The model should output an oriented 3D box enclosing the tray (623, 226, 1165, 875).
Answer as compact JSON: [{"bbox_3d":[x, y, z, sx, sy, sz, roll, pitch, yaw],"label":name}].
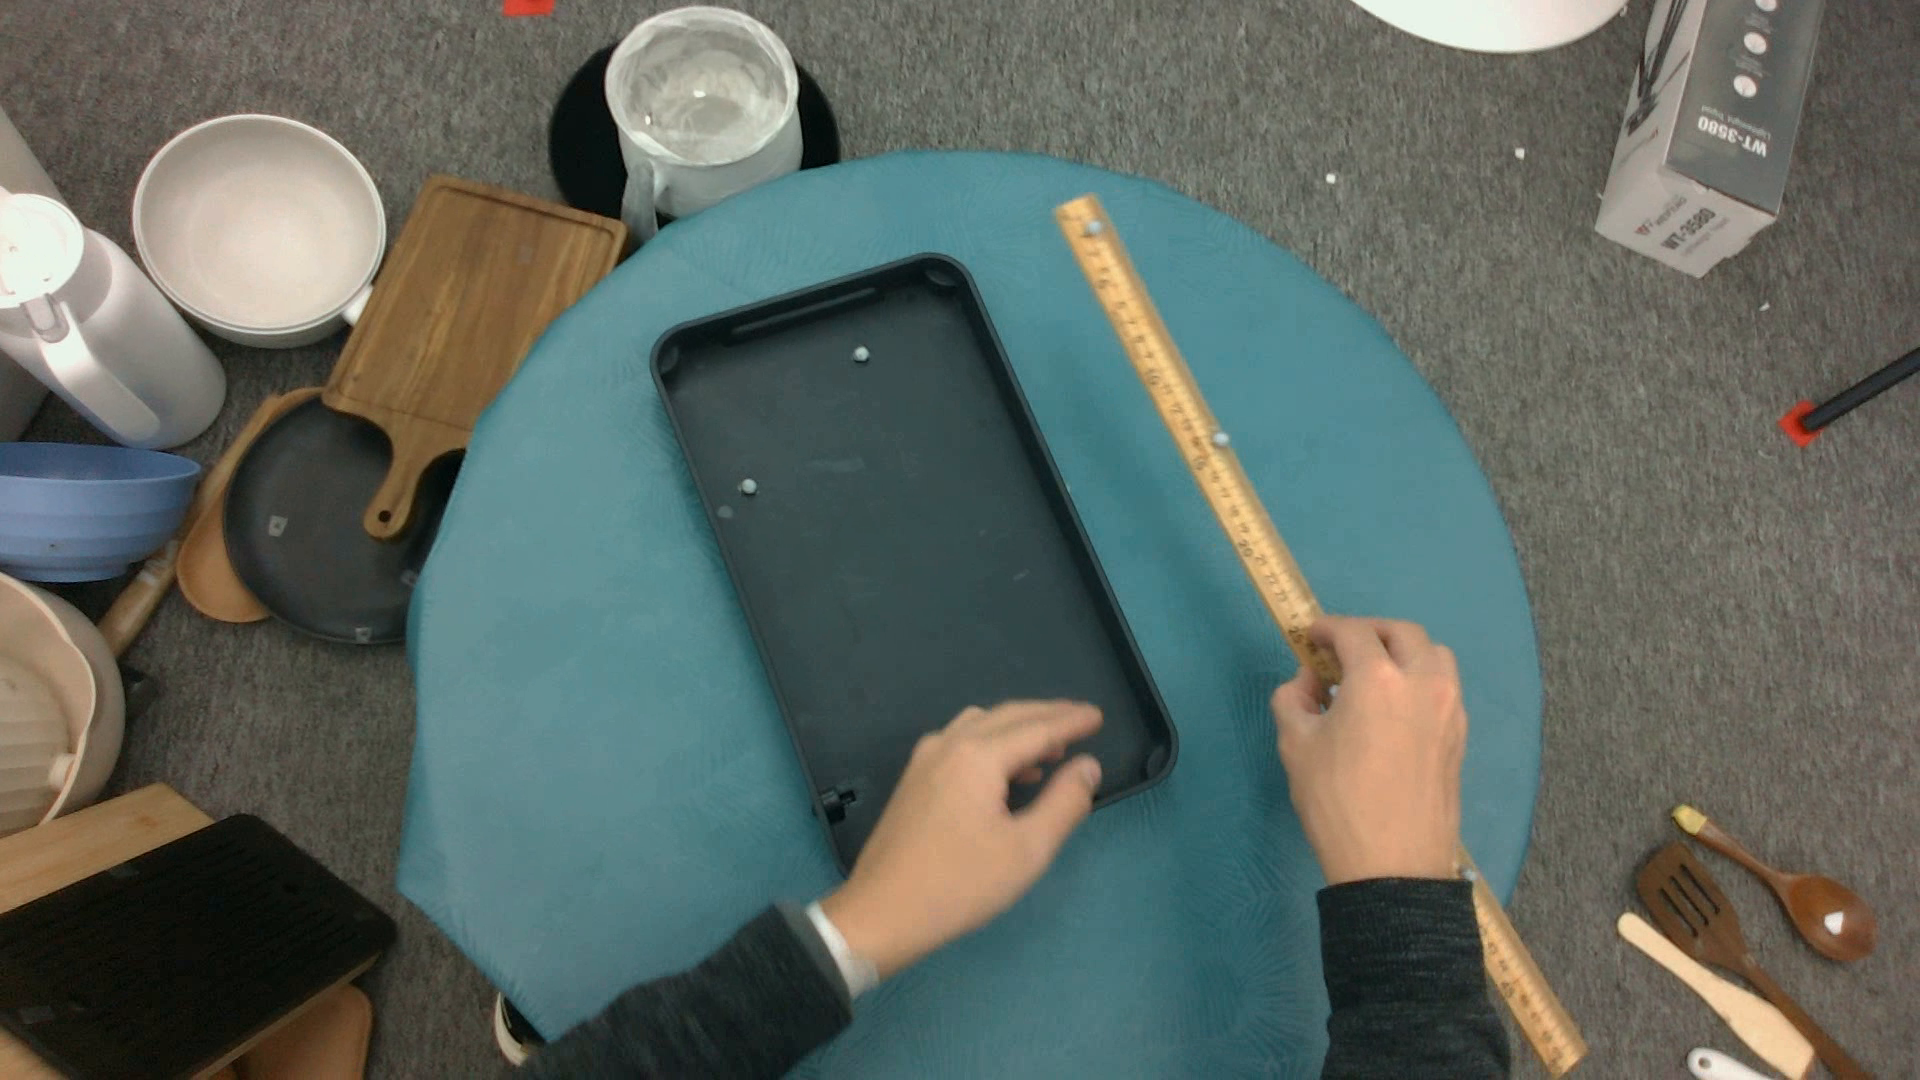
[{"bbox_3d":[-0.038,-0.003,0.721,0.184,0.037,0.318,-21,76,-14],"label":"tray"}]

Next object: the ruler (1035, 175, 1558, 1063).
[{"bbox_3d":[0.167,0.036,0.693,0.027,0.006,0.500,-28,88,-22],"label":"ruler"}]
